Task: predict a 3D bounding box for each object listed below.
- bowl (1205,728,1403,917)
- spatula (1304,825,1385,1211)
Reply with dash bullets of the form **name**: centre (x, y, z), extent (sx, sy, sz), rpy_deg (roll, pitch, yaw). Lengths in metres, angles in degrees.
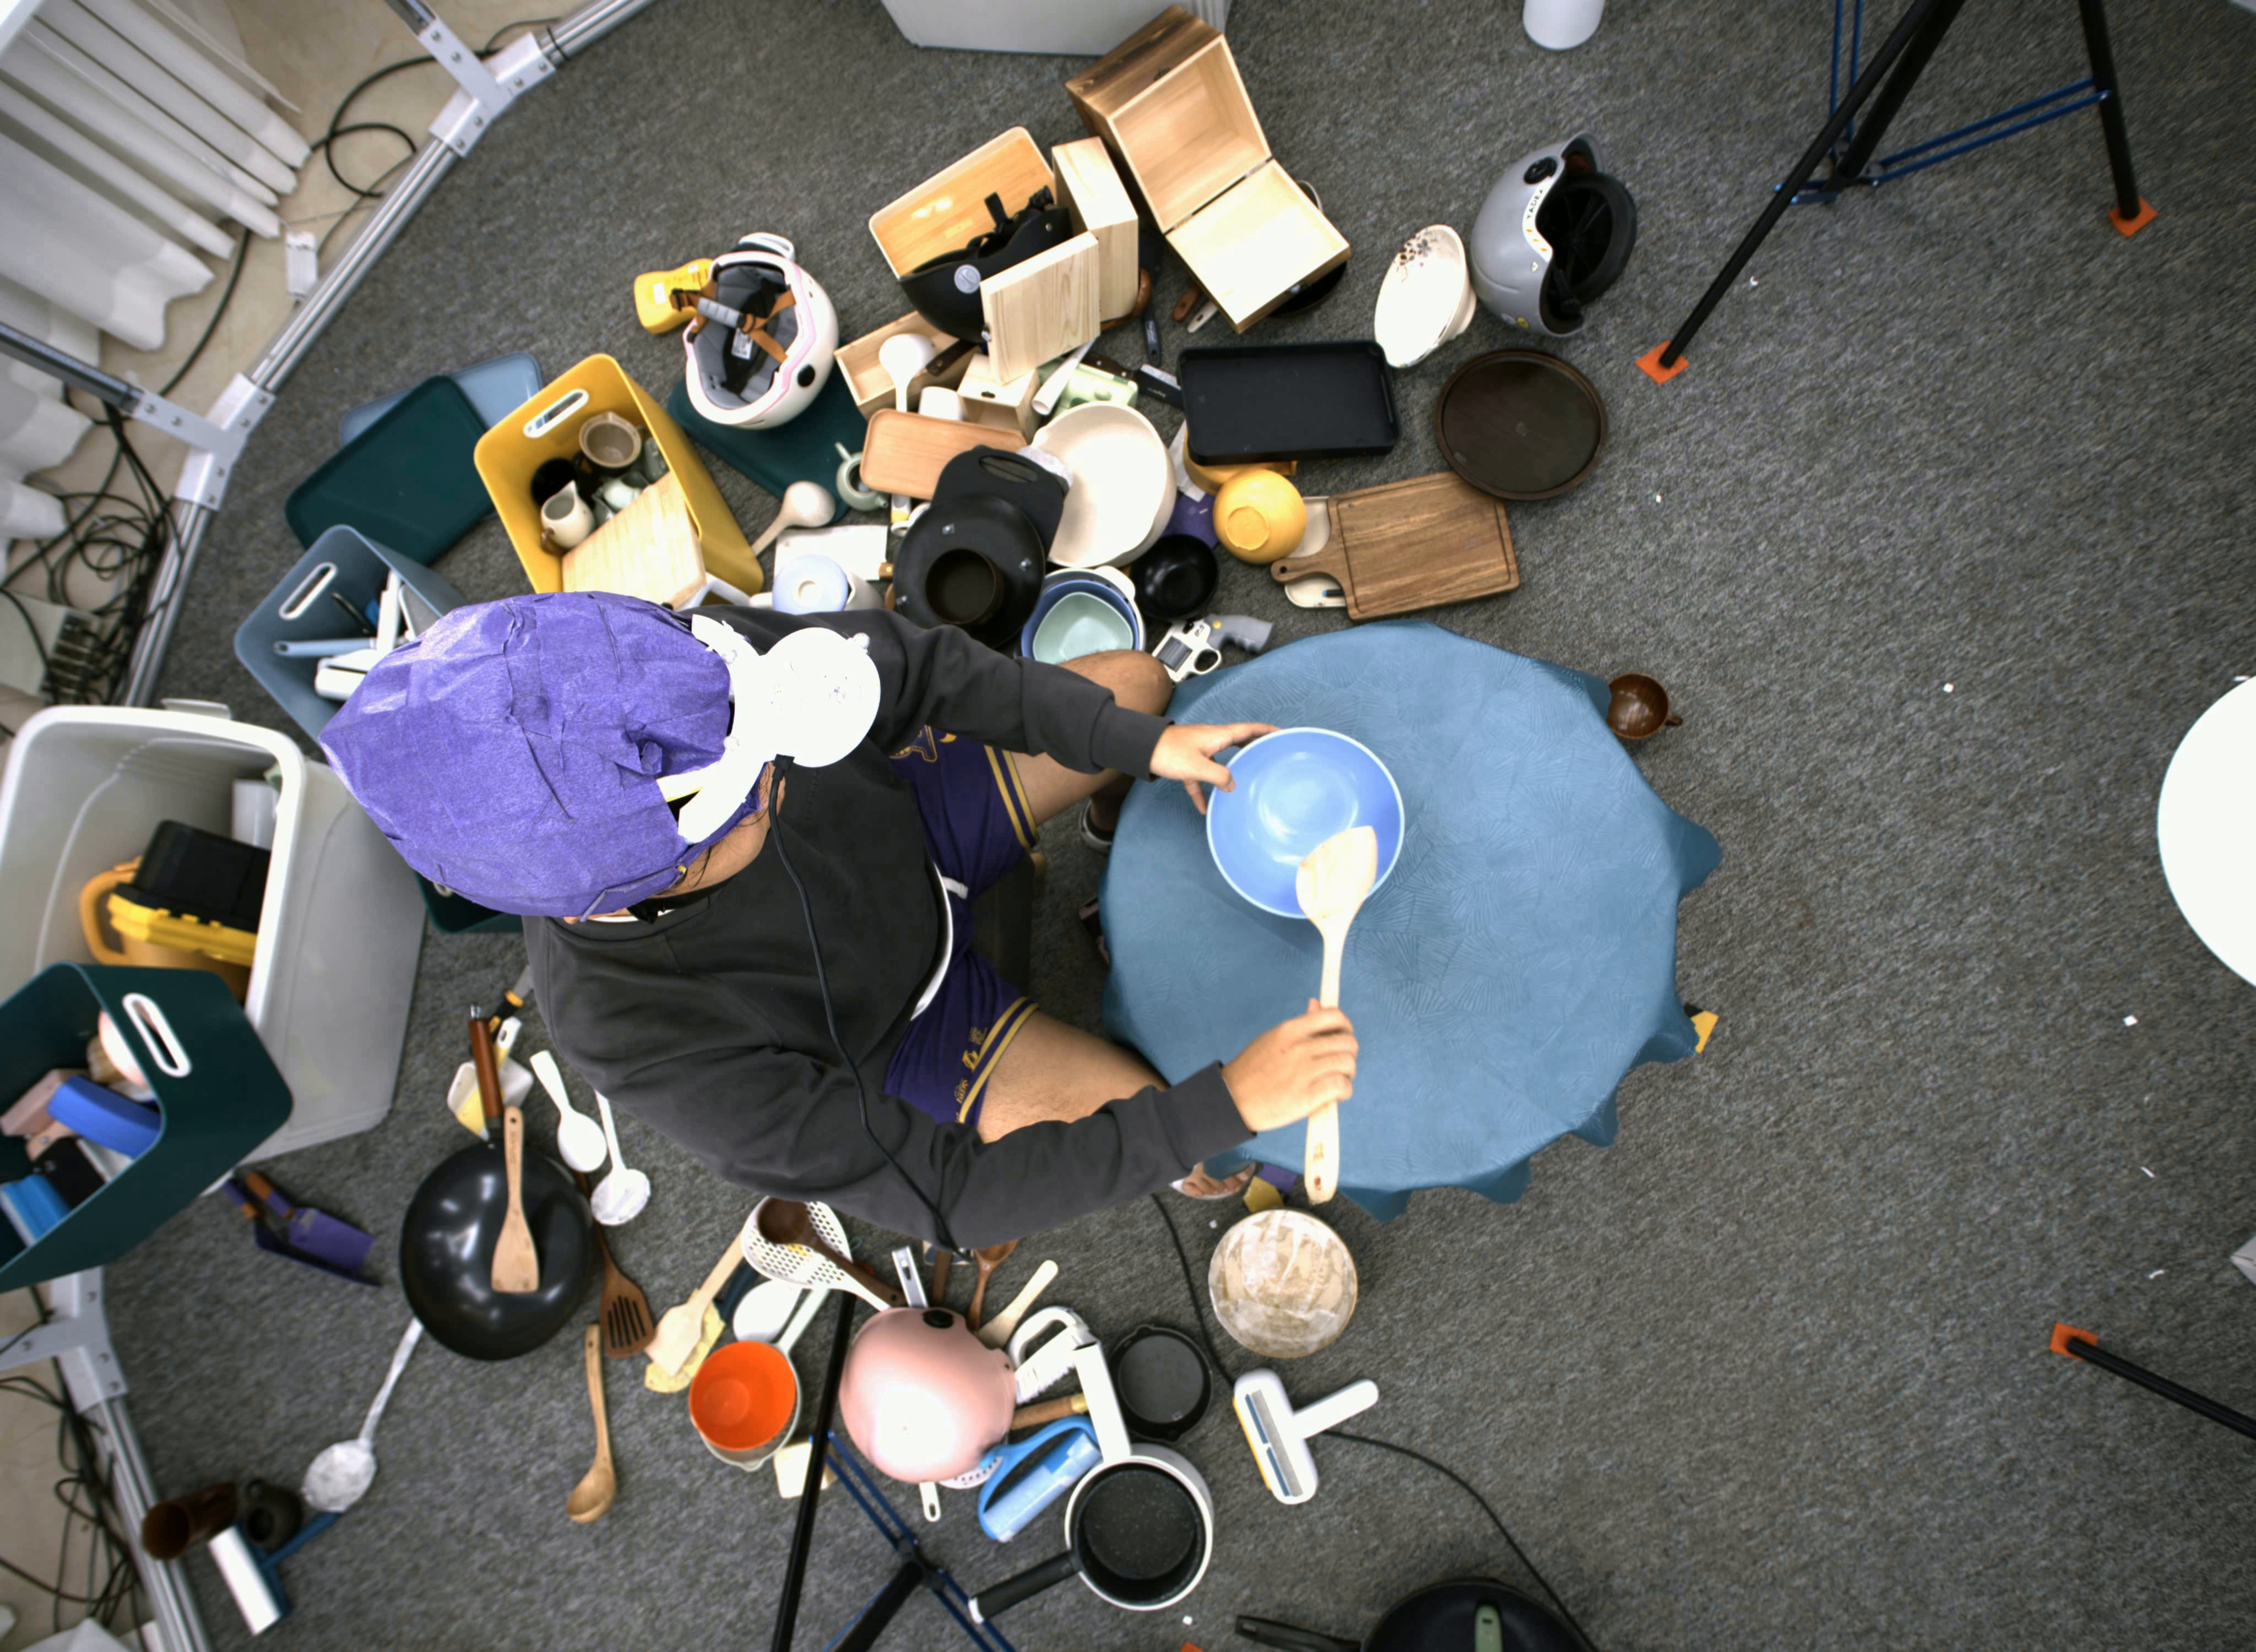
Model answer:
- **bowl**: centre (0.179, -0.014, 1.417), extent (0.197, 0.094, 0.199), rpy_deg (2, 108, 6)
- **spatula**: centre (0.184, 0.155, 1.217), extent (0.097, 0.018, 0.380), rpy_deg (-29, 36, 39)
